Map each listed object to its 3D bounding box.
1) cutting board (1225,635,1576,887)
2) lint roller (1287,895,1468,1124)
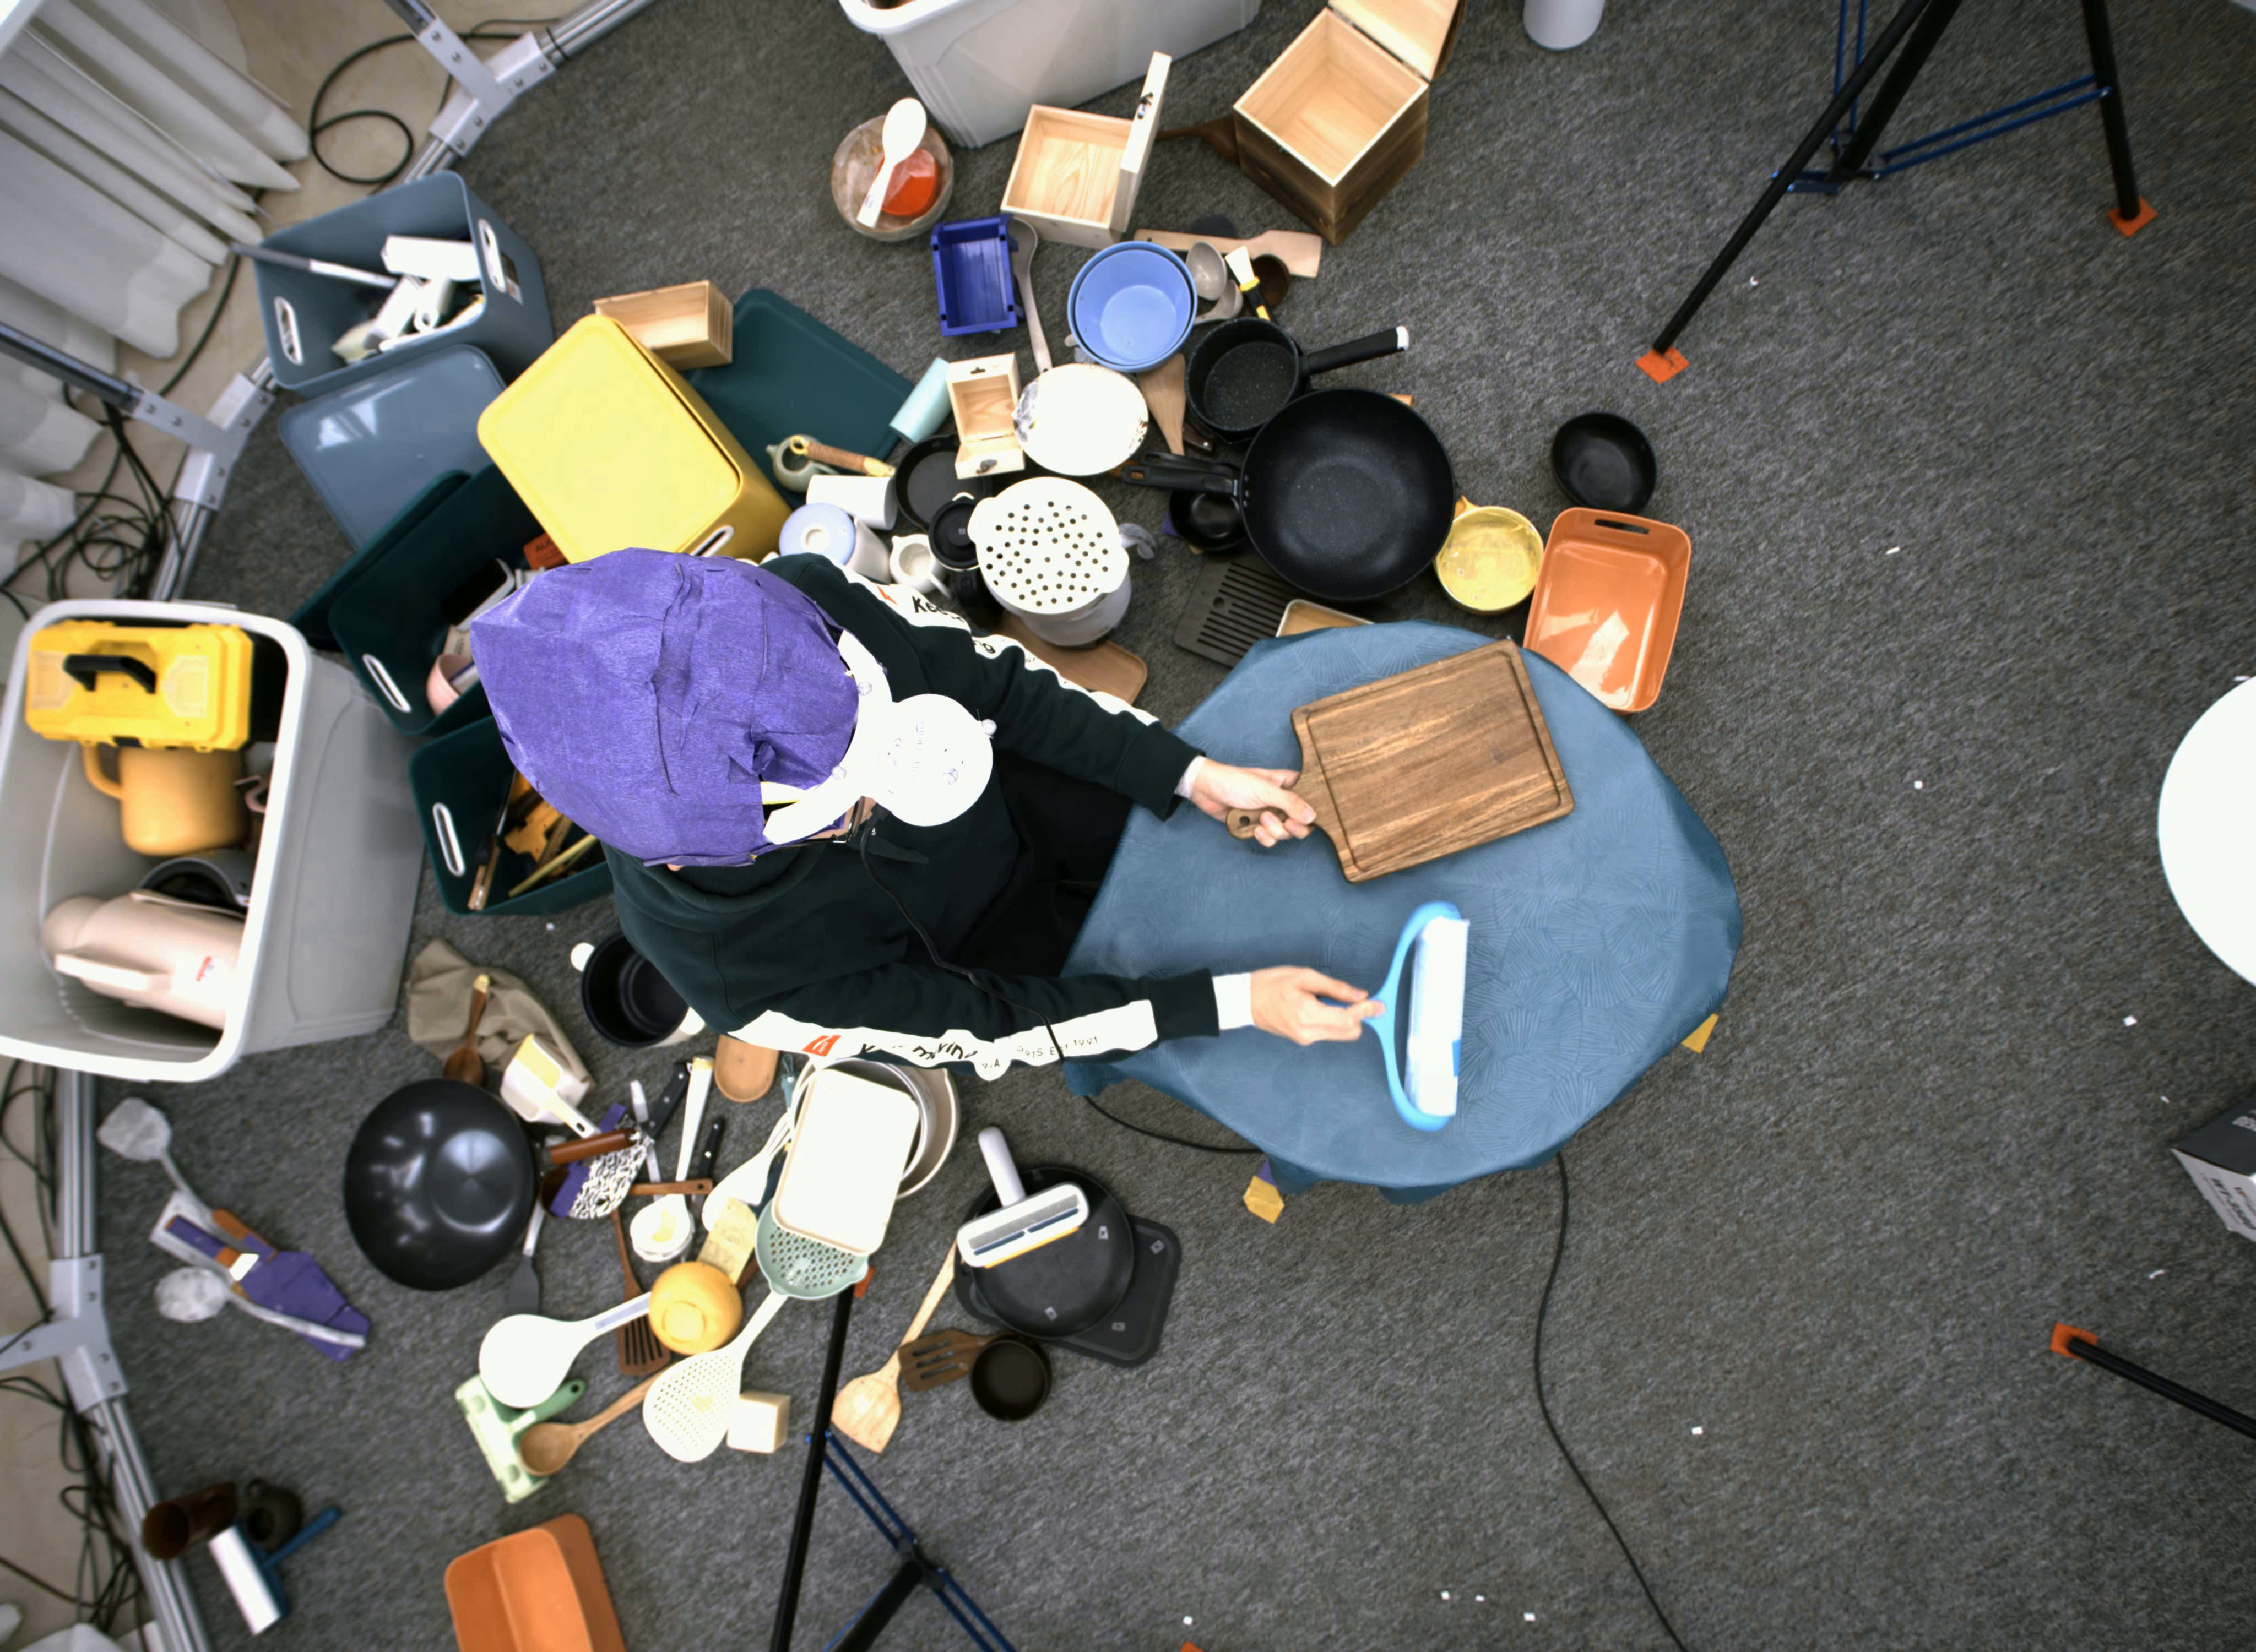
[{"bbox_3d":[0.267,-0.054,1.431,0.353,0.023,0.200,-19,85,3],"label":"cutting board"},{"bbox_3d":[0.251,0.182,1.389,0.181,0.068,0.228,0,90,5],"label":"lint roller"}]
